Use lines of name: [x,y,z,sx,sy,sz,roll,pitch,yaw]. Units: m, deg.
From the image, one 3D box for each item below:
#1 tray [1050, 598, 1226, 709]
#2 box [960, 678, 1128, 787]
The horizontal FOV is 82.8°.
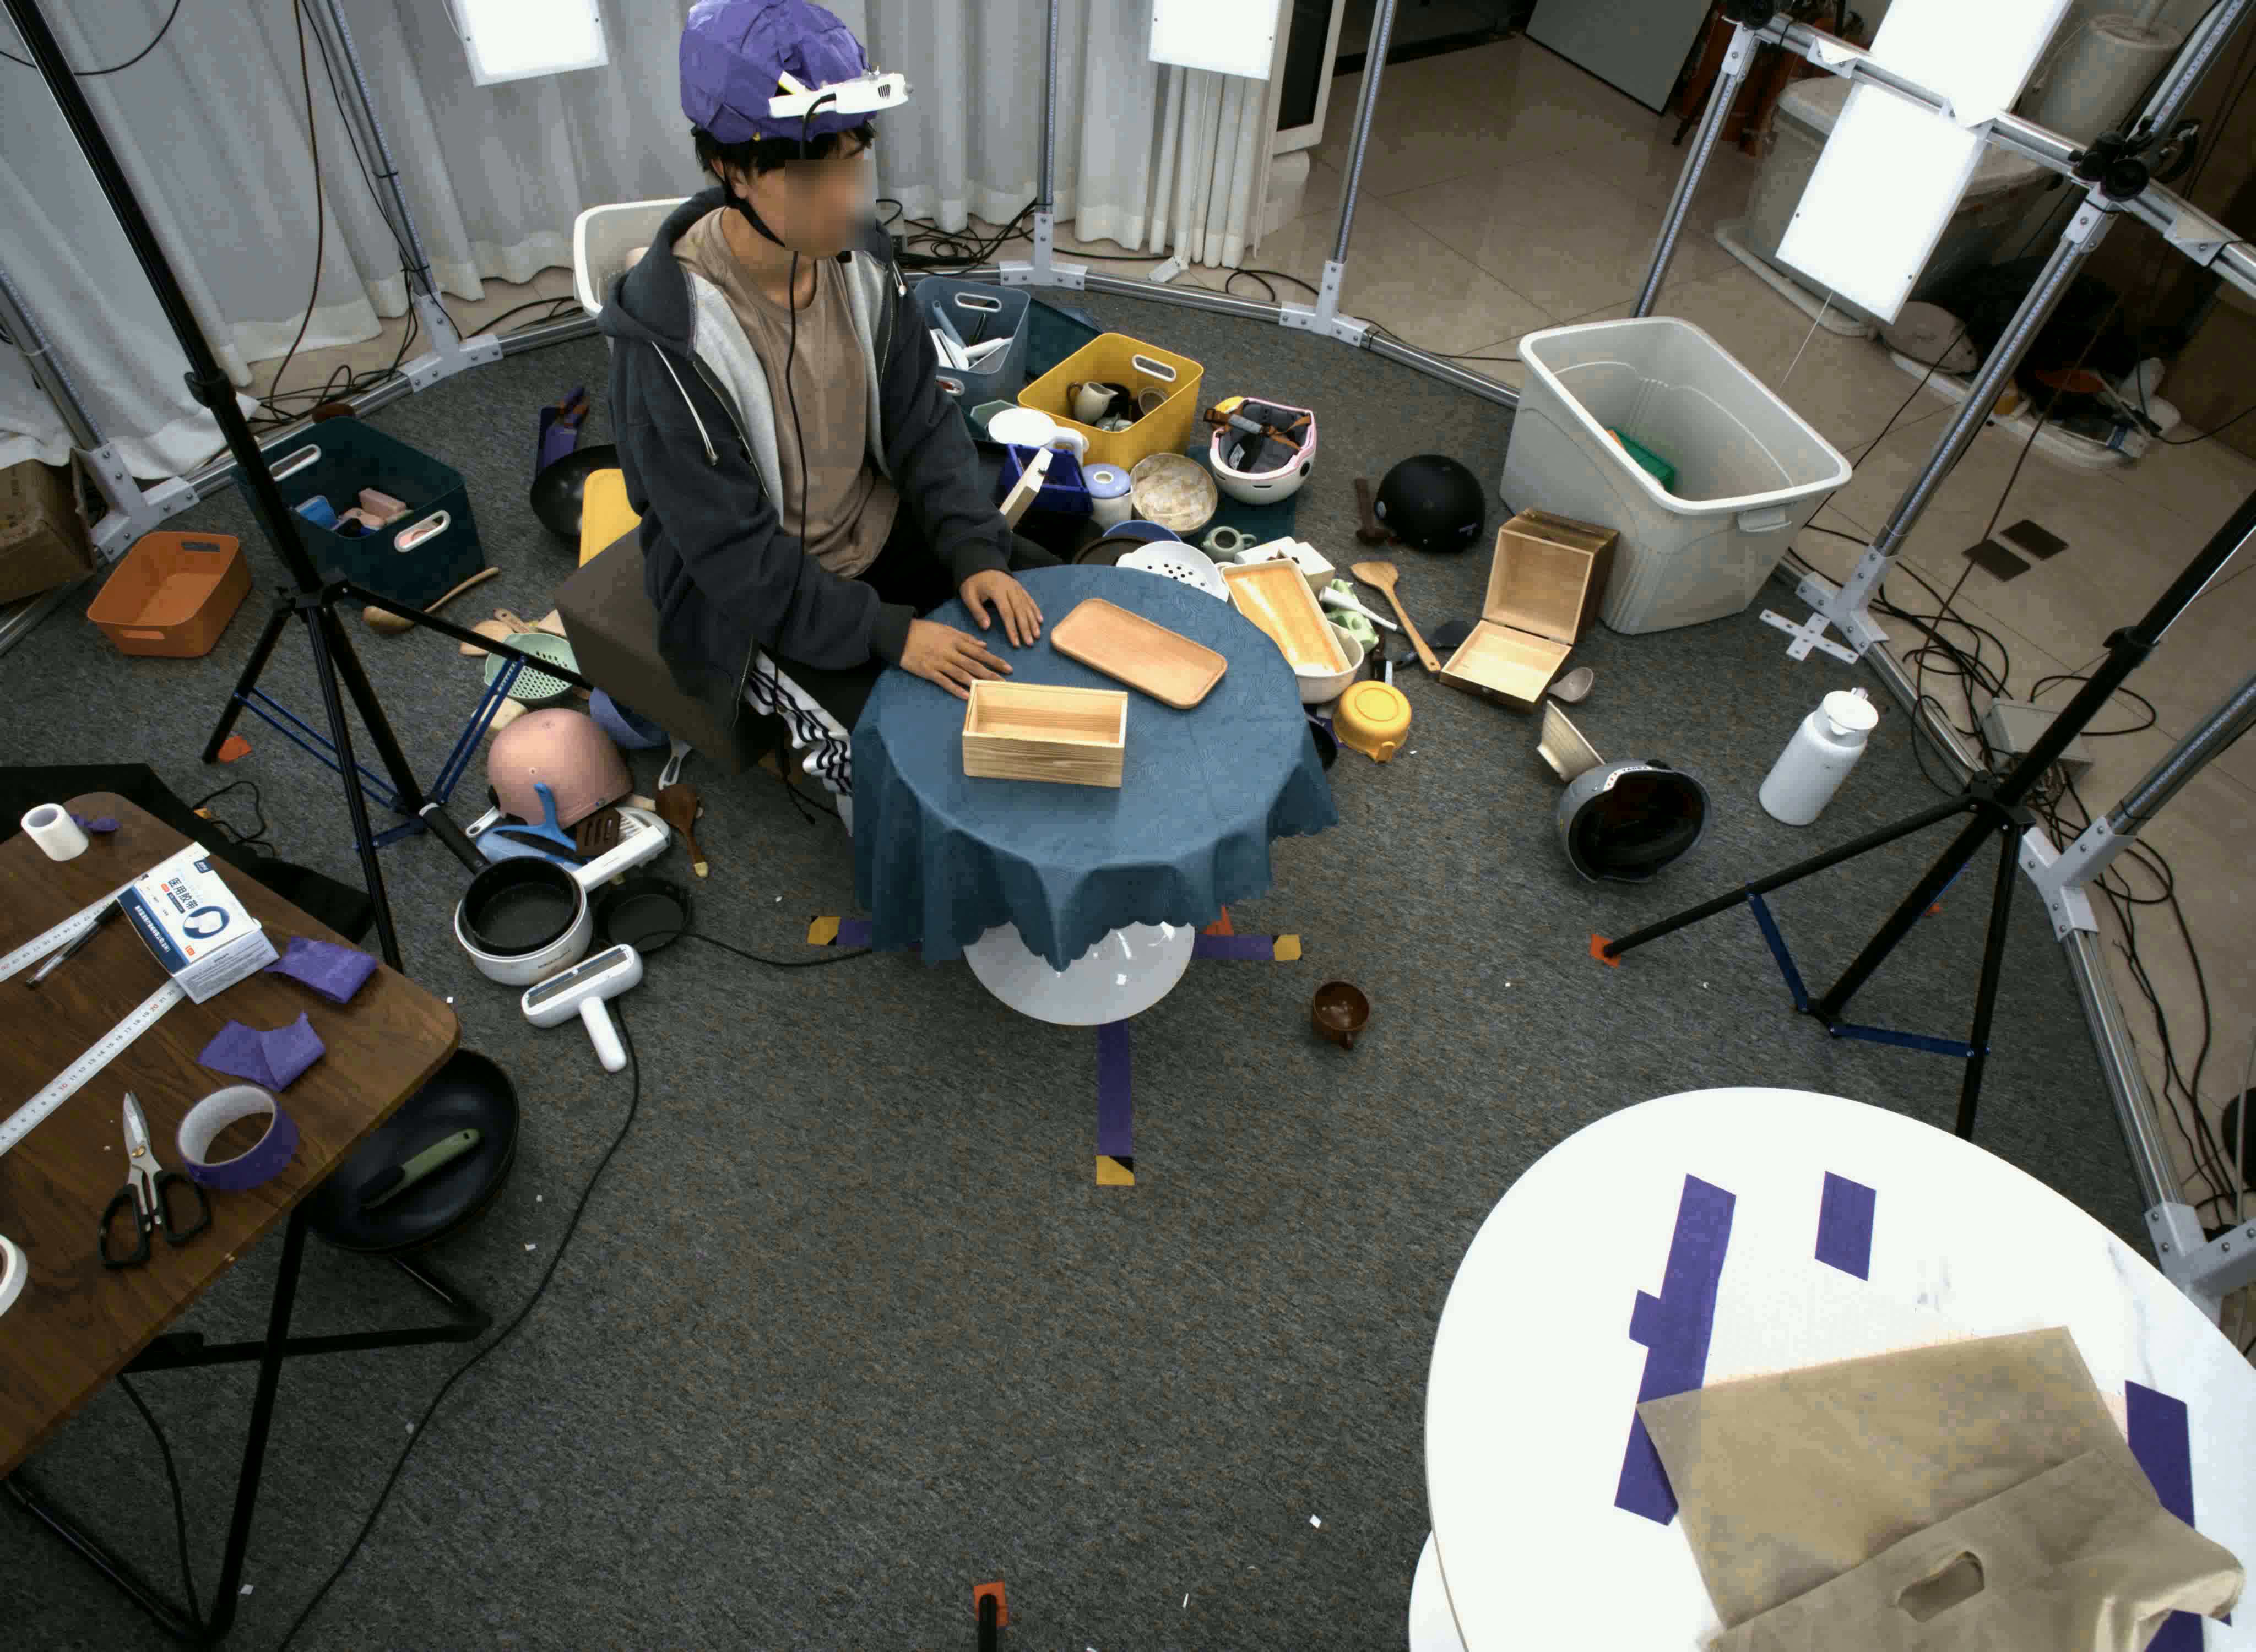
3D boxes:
tray: [0.014,-0.253,1.876,0.253,0.022,0.132,28,50,20]
box: [-0.110,-0.125,1.716,0.211,0.078,0.110,4,49,0]
